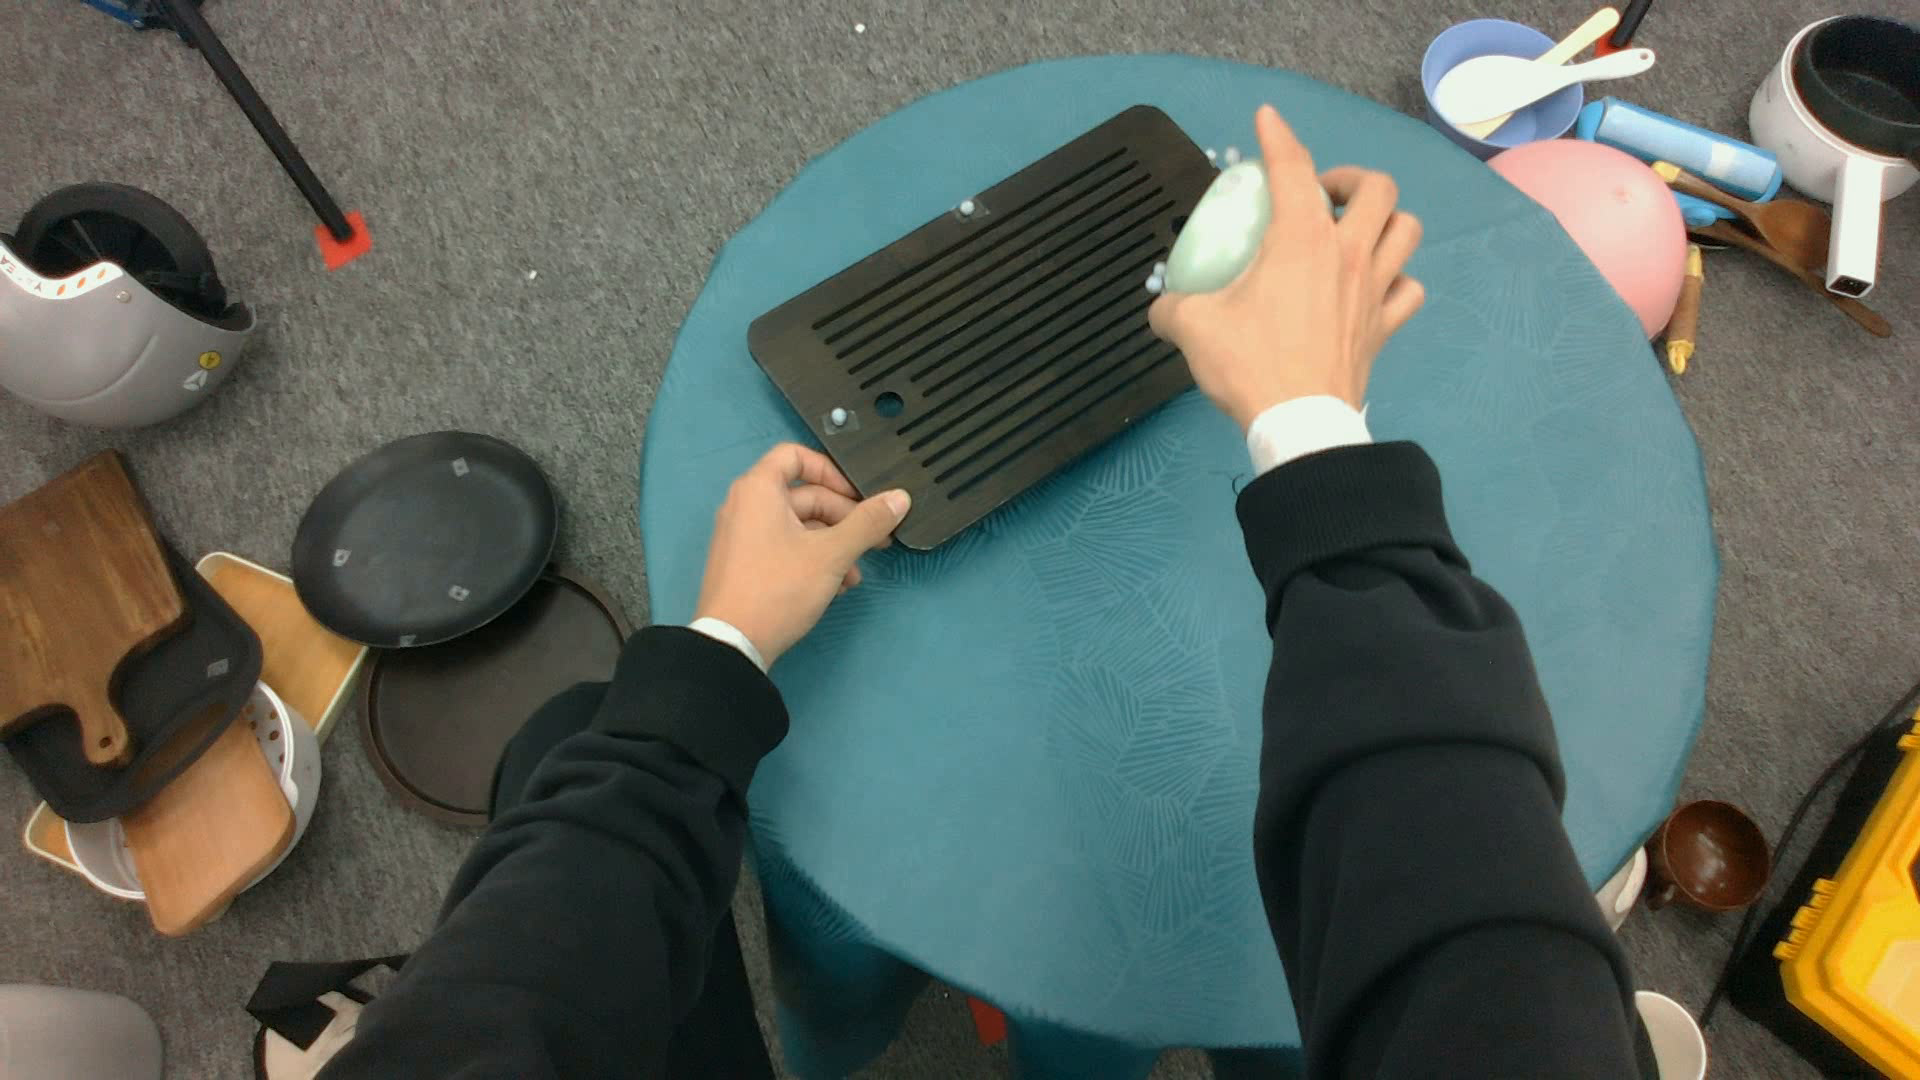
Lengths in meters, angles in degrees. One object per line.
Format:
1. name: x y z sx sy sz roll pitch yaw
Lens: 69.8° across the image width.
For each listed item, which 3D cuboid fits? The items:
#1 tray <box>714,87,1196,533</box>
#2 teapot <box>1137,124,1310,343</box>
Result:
1. tray: 0.028 -0.141 0.792 0.307 0.018 0.170 -34 73 -19
2. teapot: 0.128 -0.141 0.674 0.075 0.143 0.088 33 72 11
